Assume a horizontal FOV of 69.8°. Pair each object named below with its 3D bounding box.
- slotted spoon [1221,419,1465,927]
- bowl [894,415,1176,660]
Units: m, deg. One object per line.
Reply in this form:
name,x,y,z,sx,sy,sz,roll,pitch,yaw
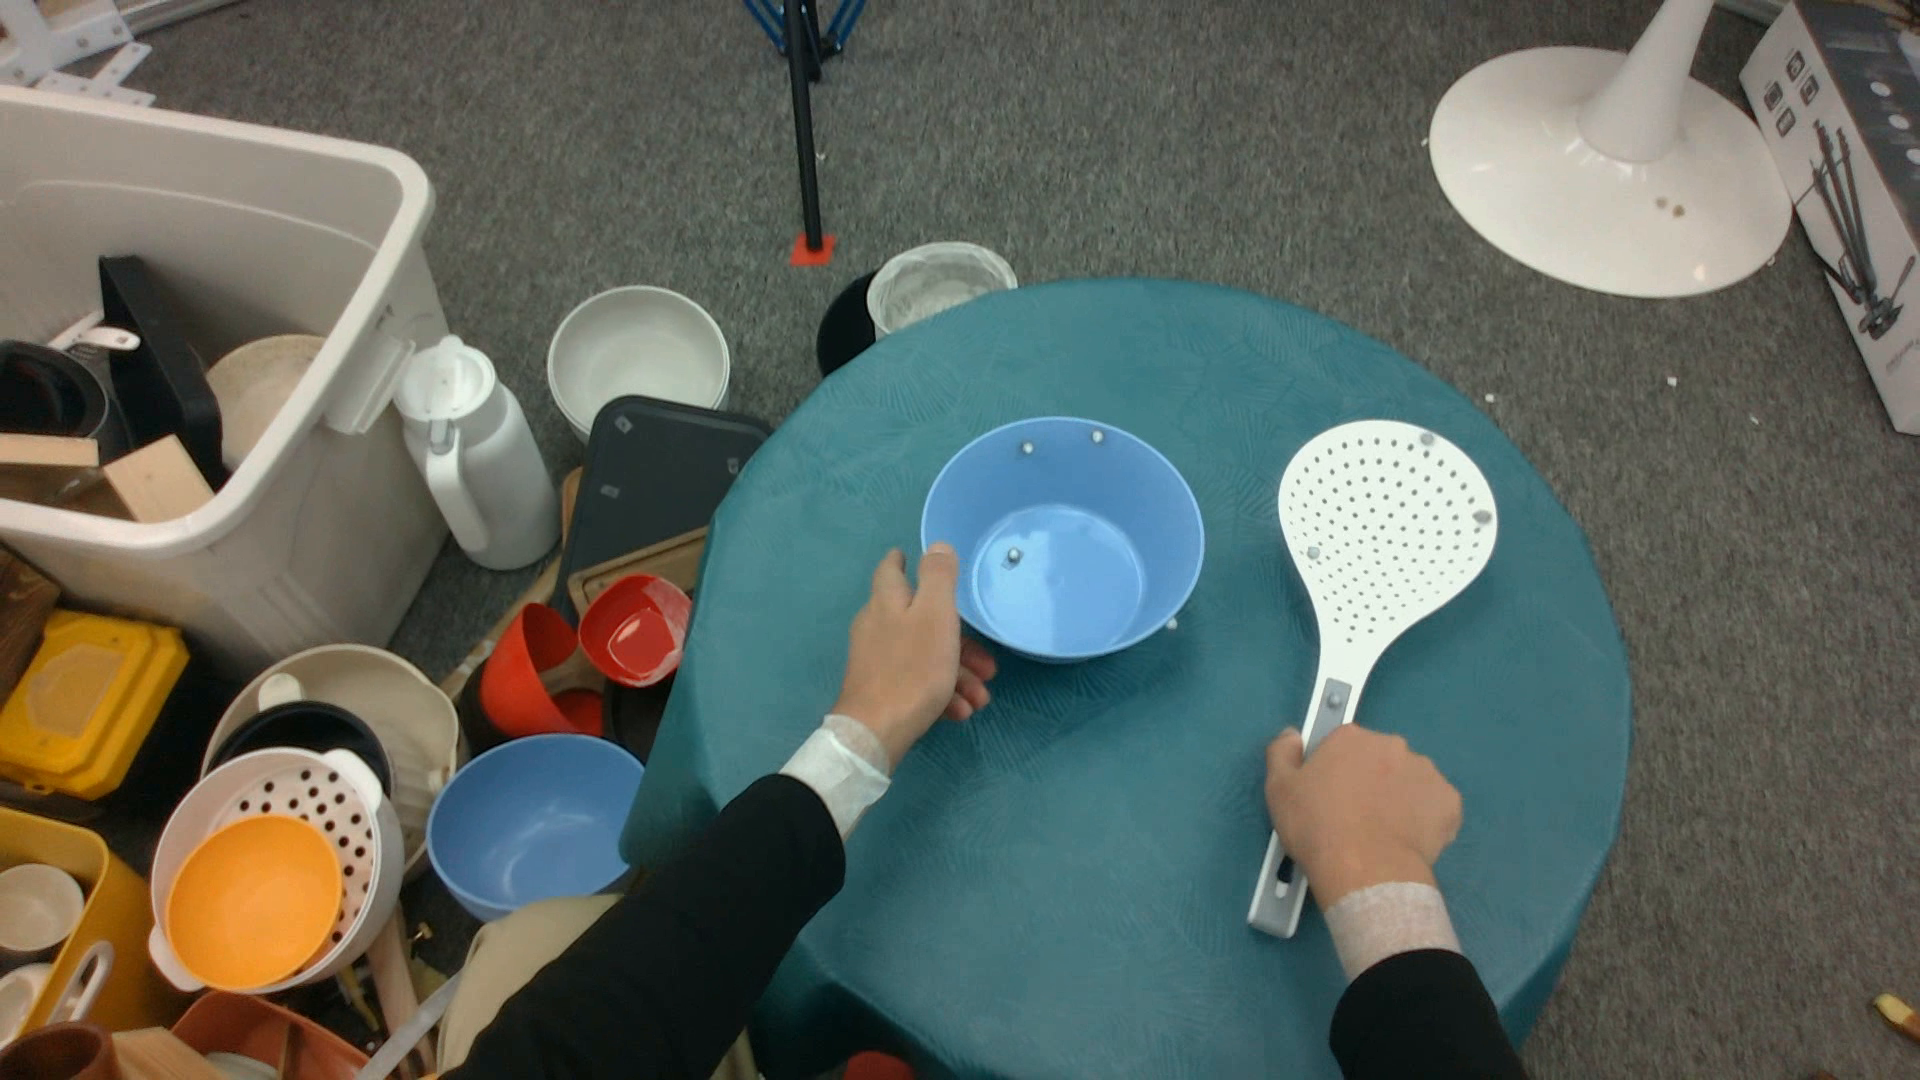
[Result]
slotted spoon,0.223,0.072,0.858,0.136,0.045,0.351,18,59,10
bowl,0.046,0.009,0.877,0.176,0.070,0.177,1,58,-1
